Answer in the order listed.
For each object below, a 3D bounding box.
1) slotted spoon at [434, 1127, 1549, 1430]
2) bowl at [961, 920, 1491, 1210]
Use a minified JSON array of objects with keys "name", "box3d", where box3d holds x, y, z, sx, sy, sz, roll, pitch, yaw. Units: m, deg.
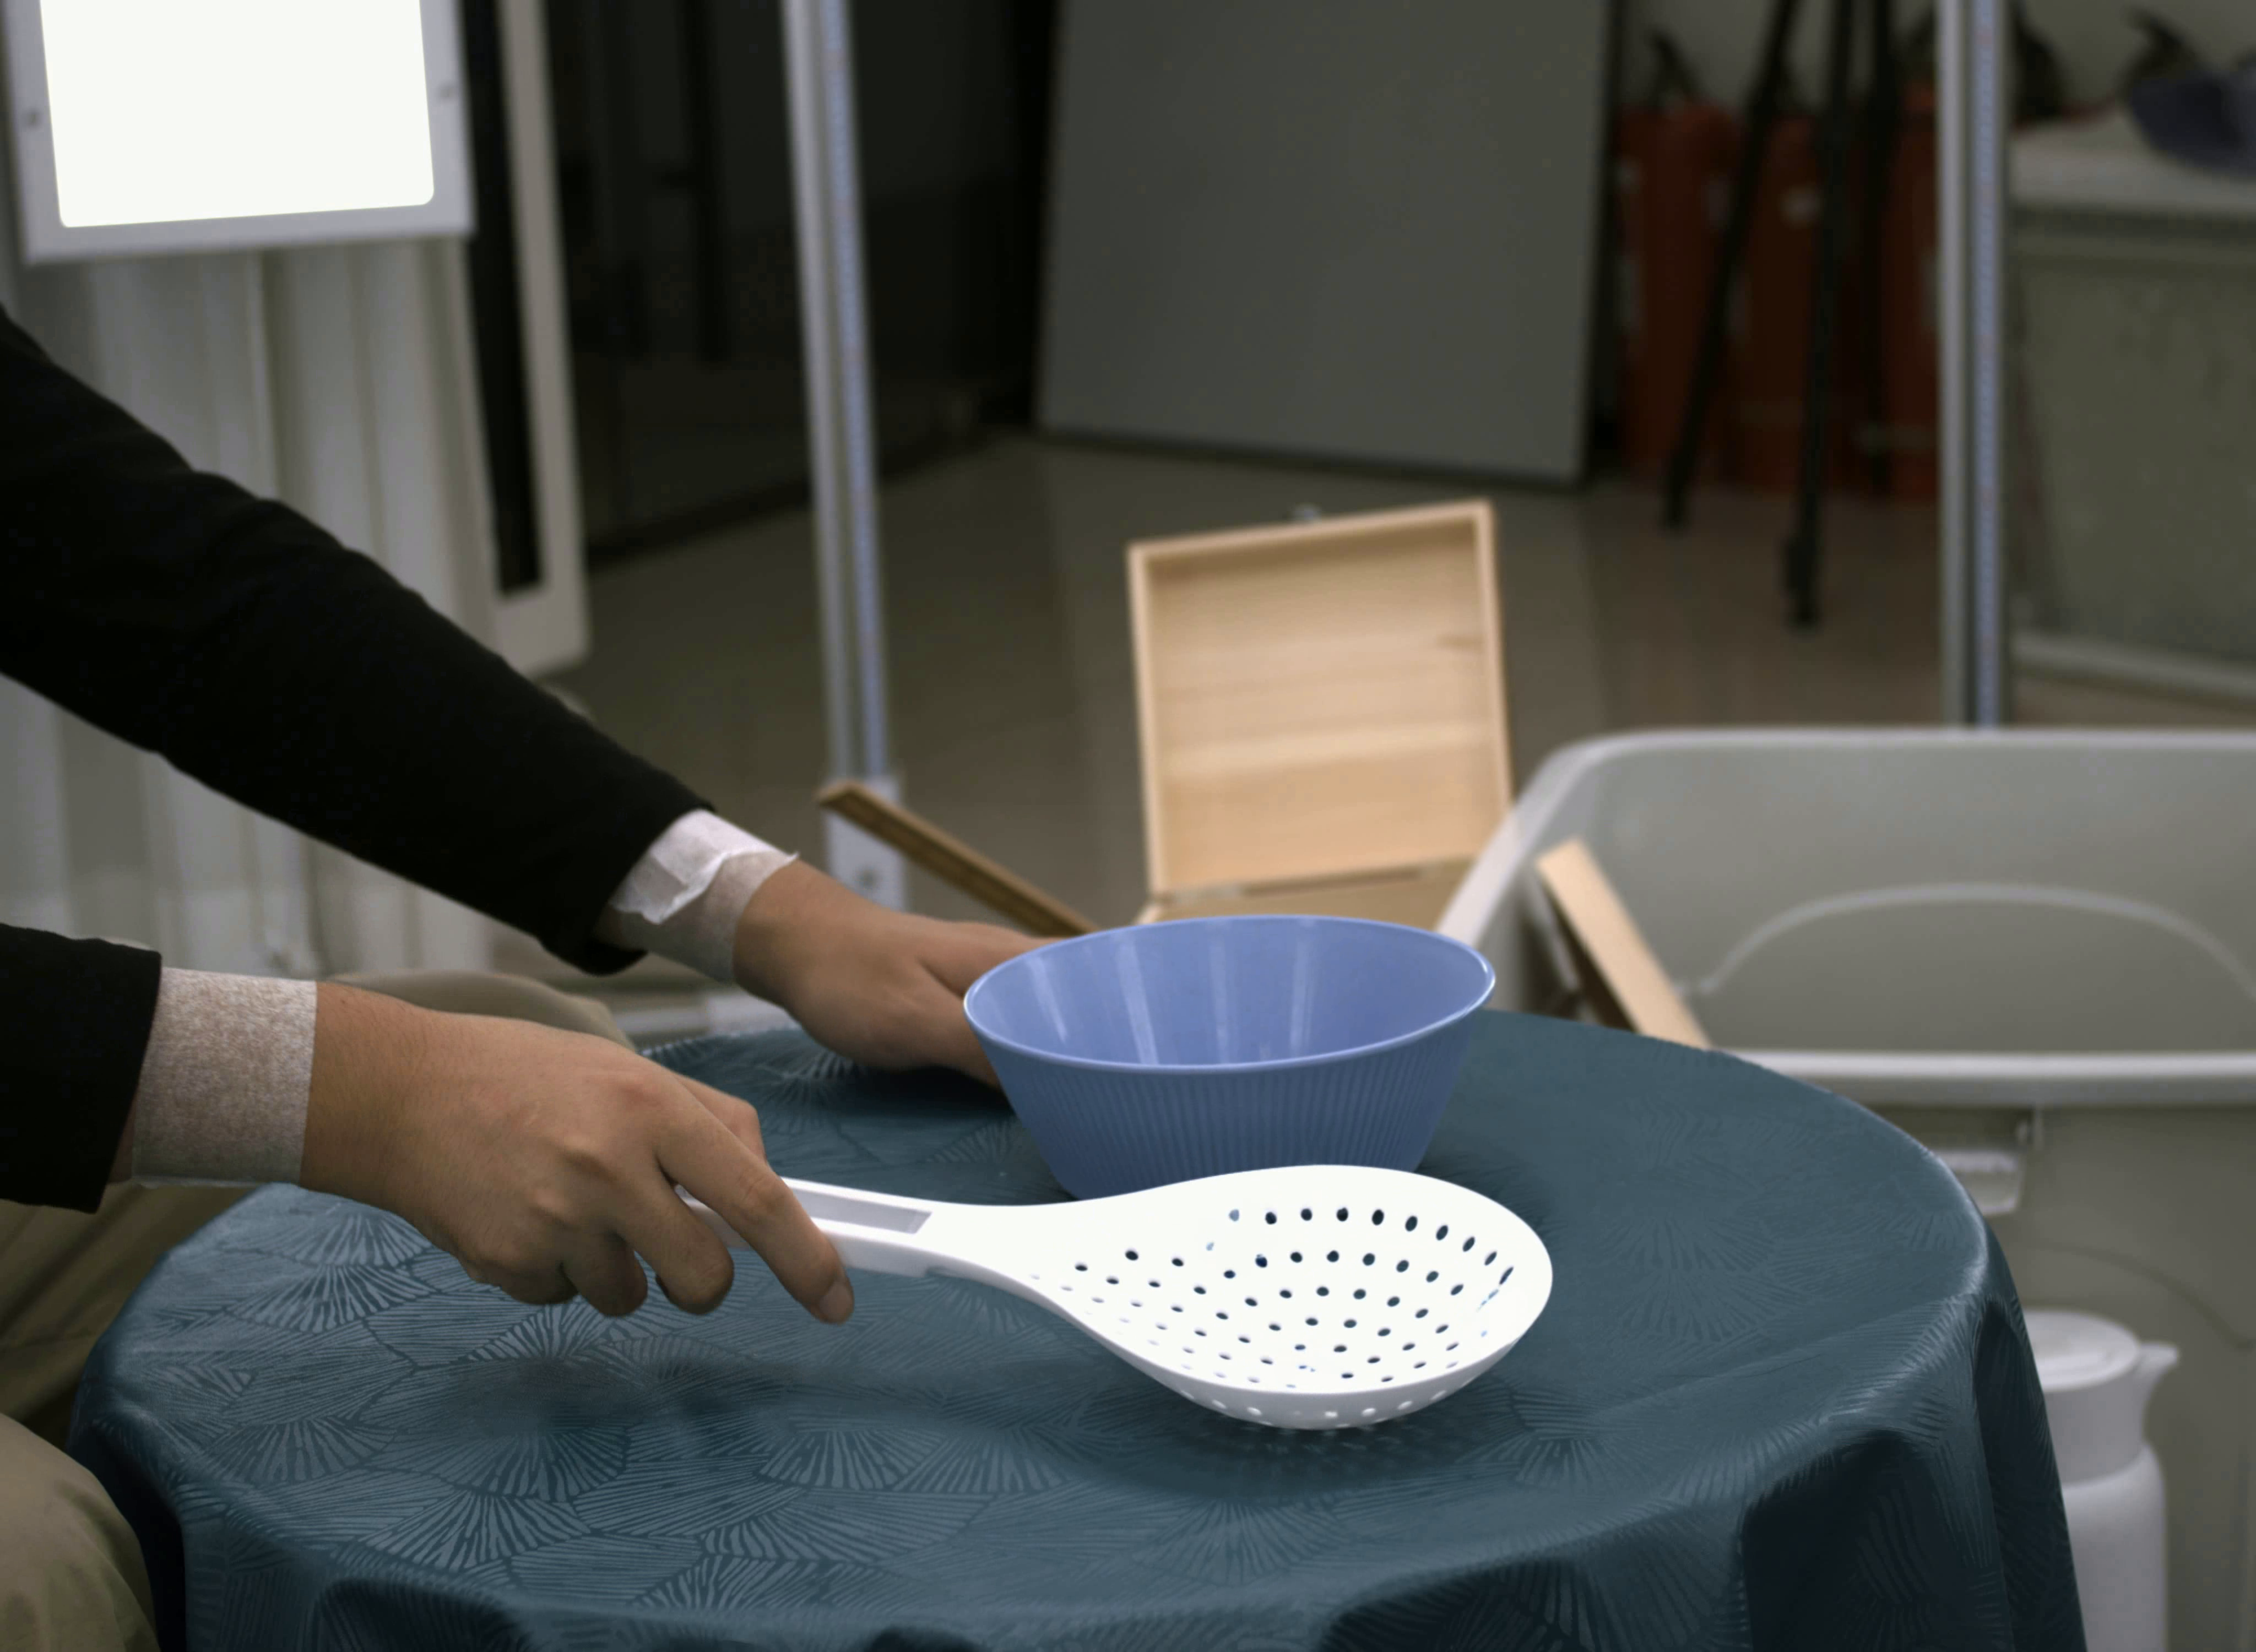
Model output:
[{"name":"slotted spoon","box3d":[-0.046,0.123,1.593,0.349,0.046,0.135,11,28,18]},{"name":"bowl","box3d":[0.034,0.083,1.765,0.174,0.071,0.176,-5,13,0]}]
